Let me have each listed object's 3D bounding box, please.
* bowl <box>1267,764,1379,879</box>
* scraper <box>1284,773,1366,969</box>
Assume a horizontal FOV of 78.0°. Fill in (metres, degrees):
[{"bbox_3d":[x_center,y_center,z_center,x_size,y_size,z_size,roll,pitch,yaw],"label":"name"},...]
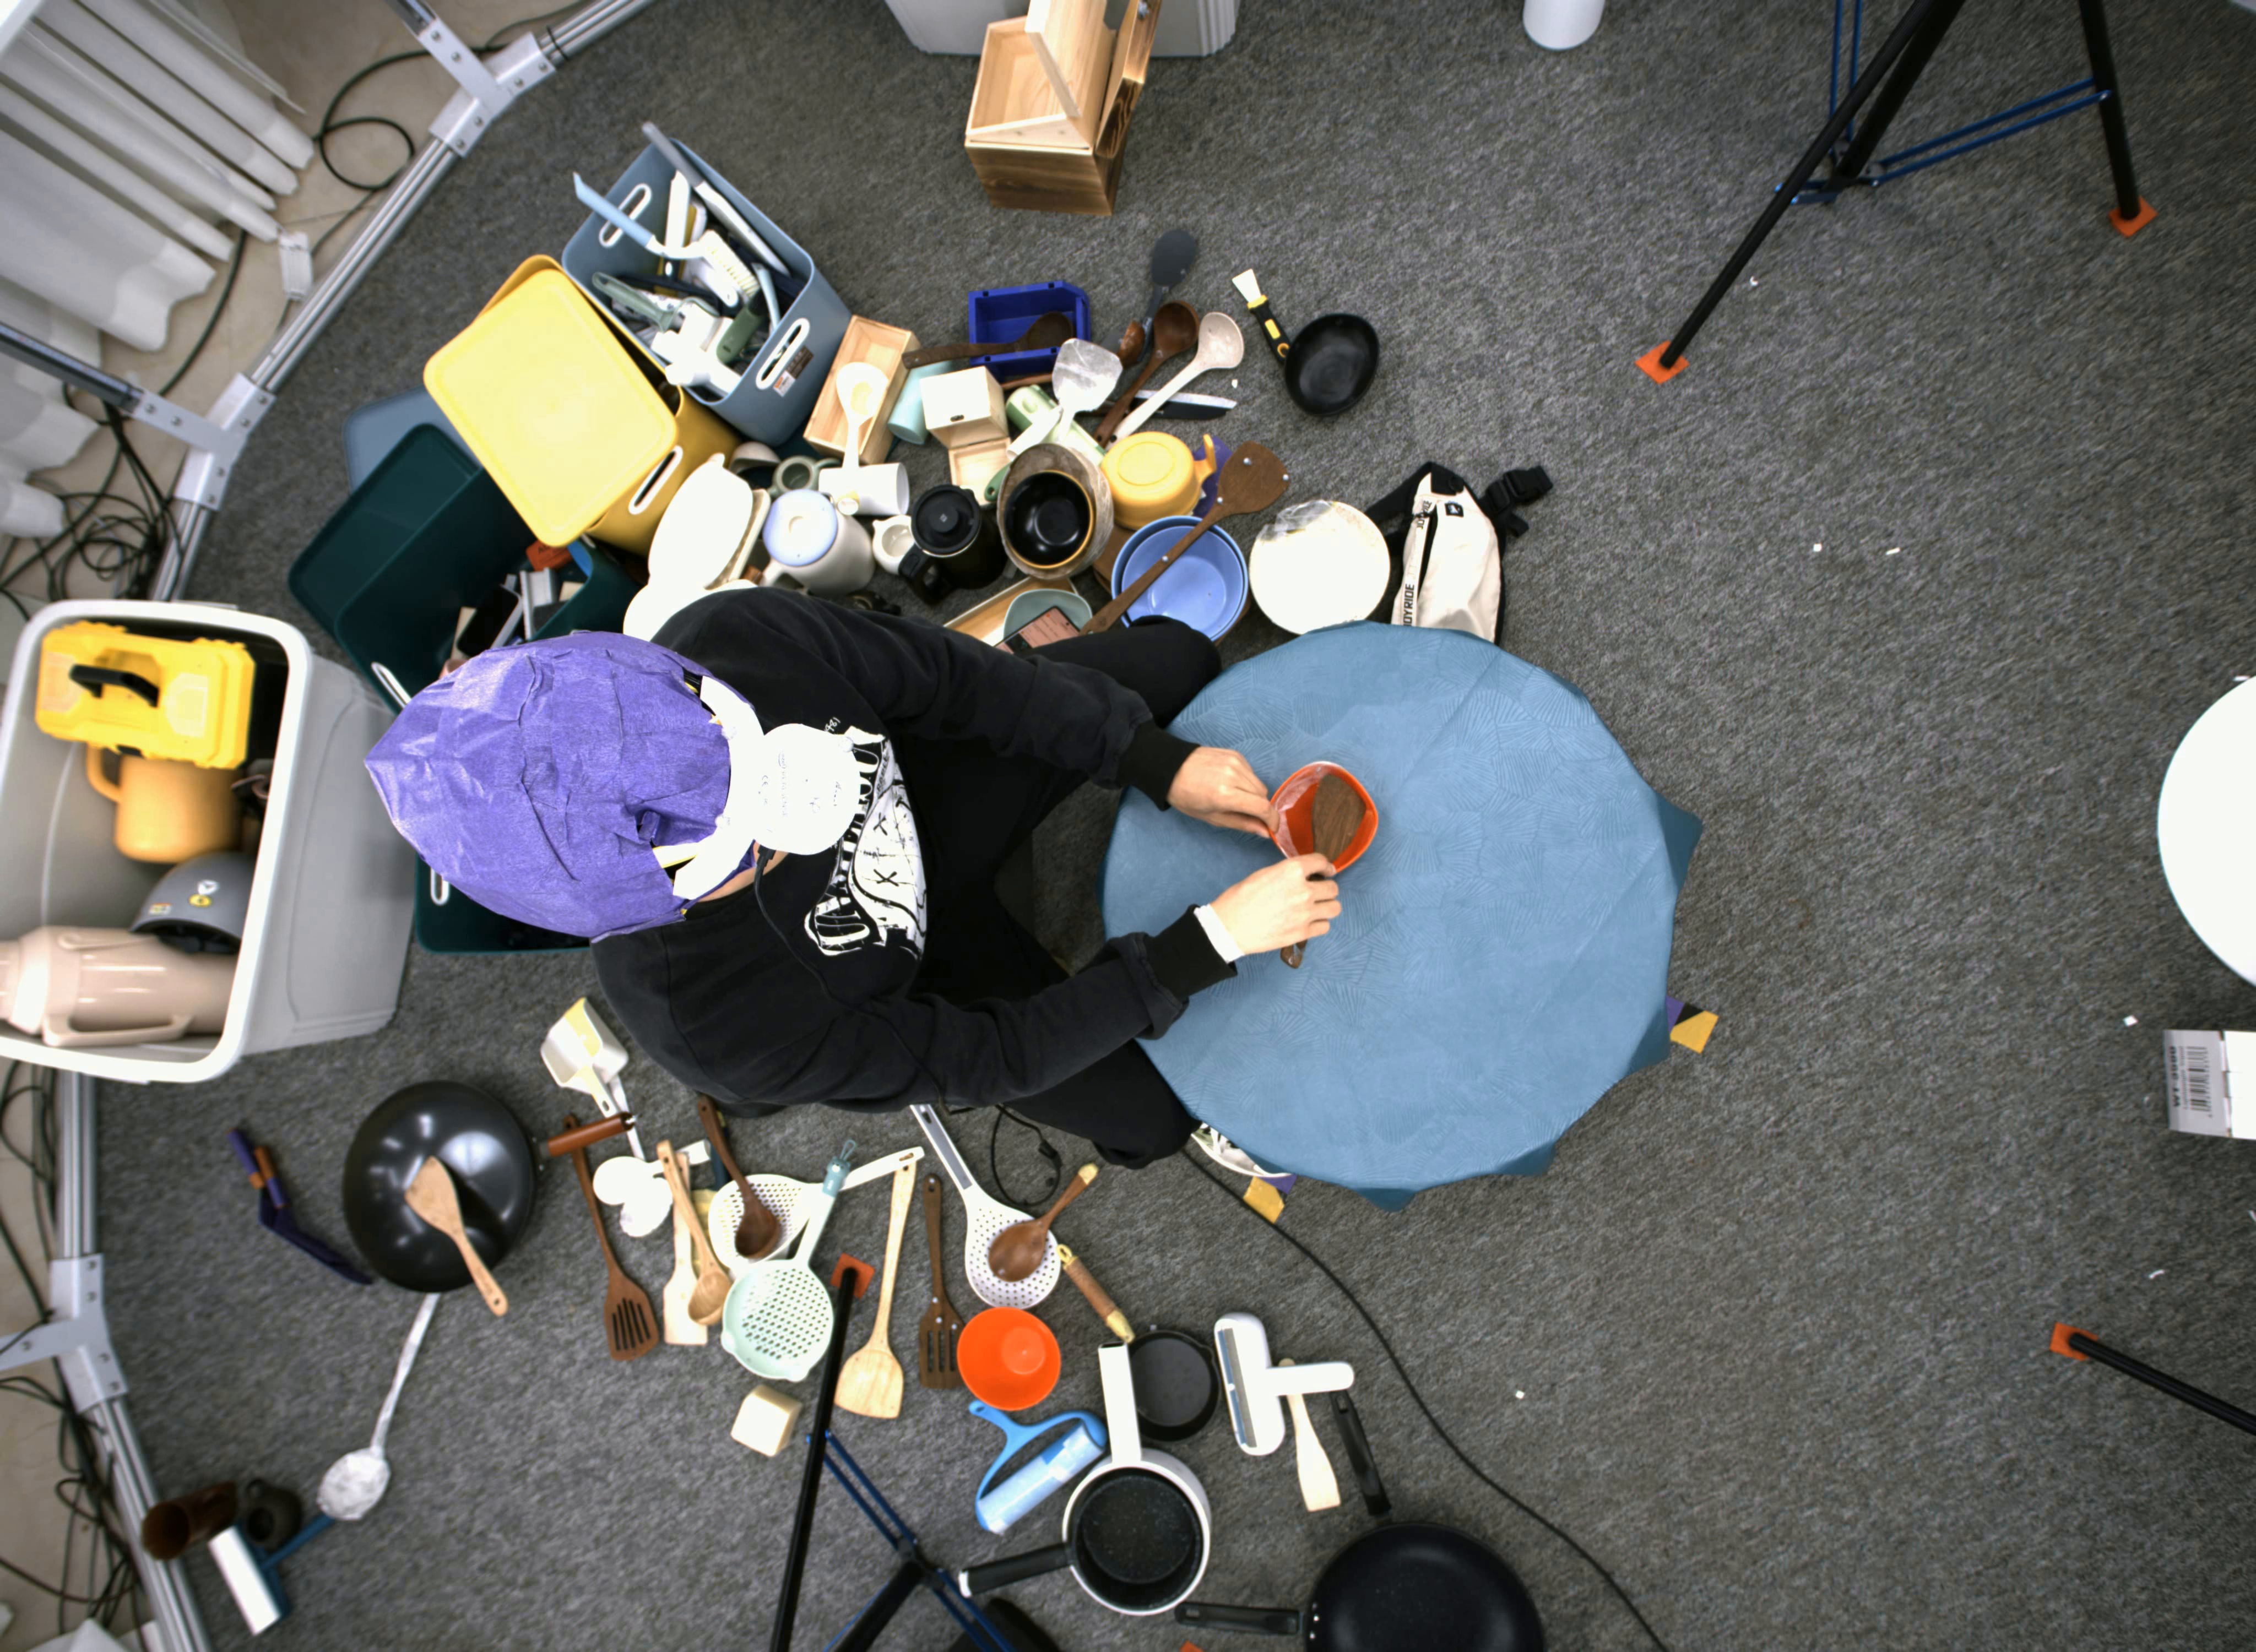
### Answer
[{"bbox_3d":[0.199,-0.005,1.448,0.119,0.051,0.119,0,90,-9],"label":"bowl"},{"bbox_3d":[0.192,0.046,1.388,0.011,0.076,0.207,-7,54,47],"label":"scraper"}]
